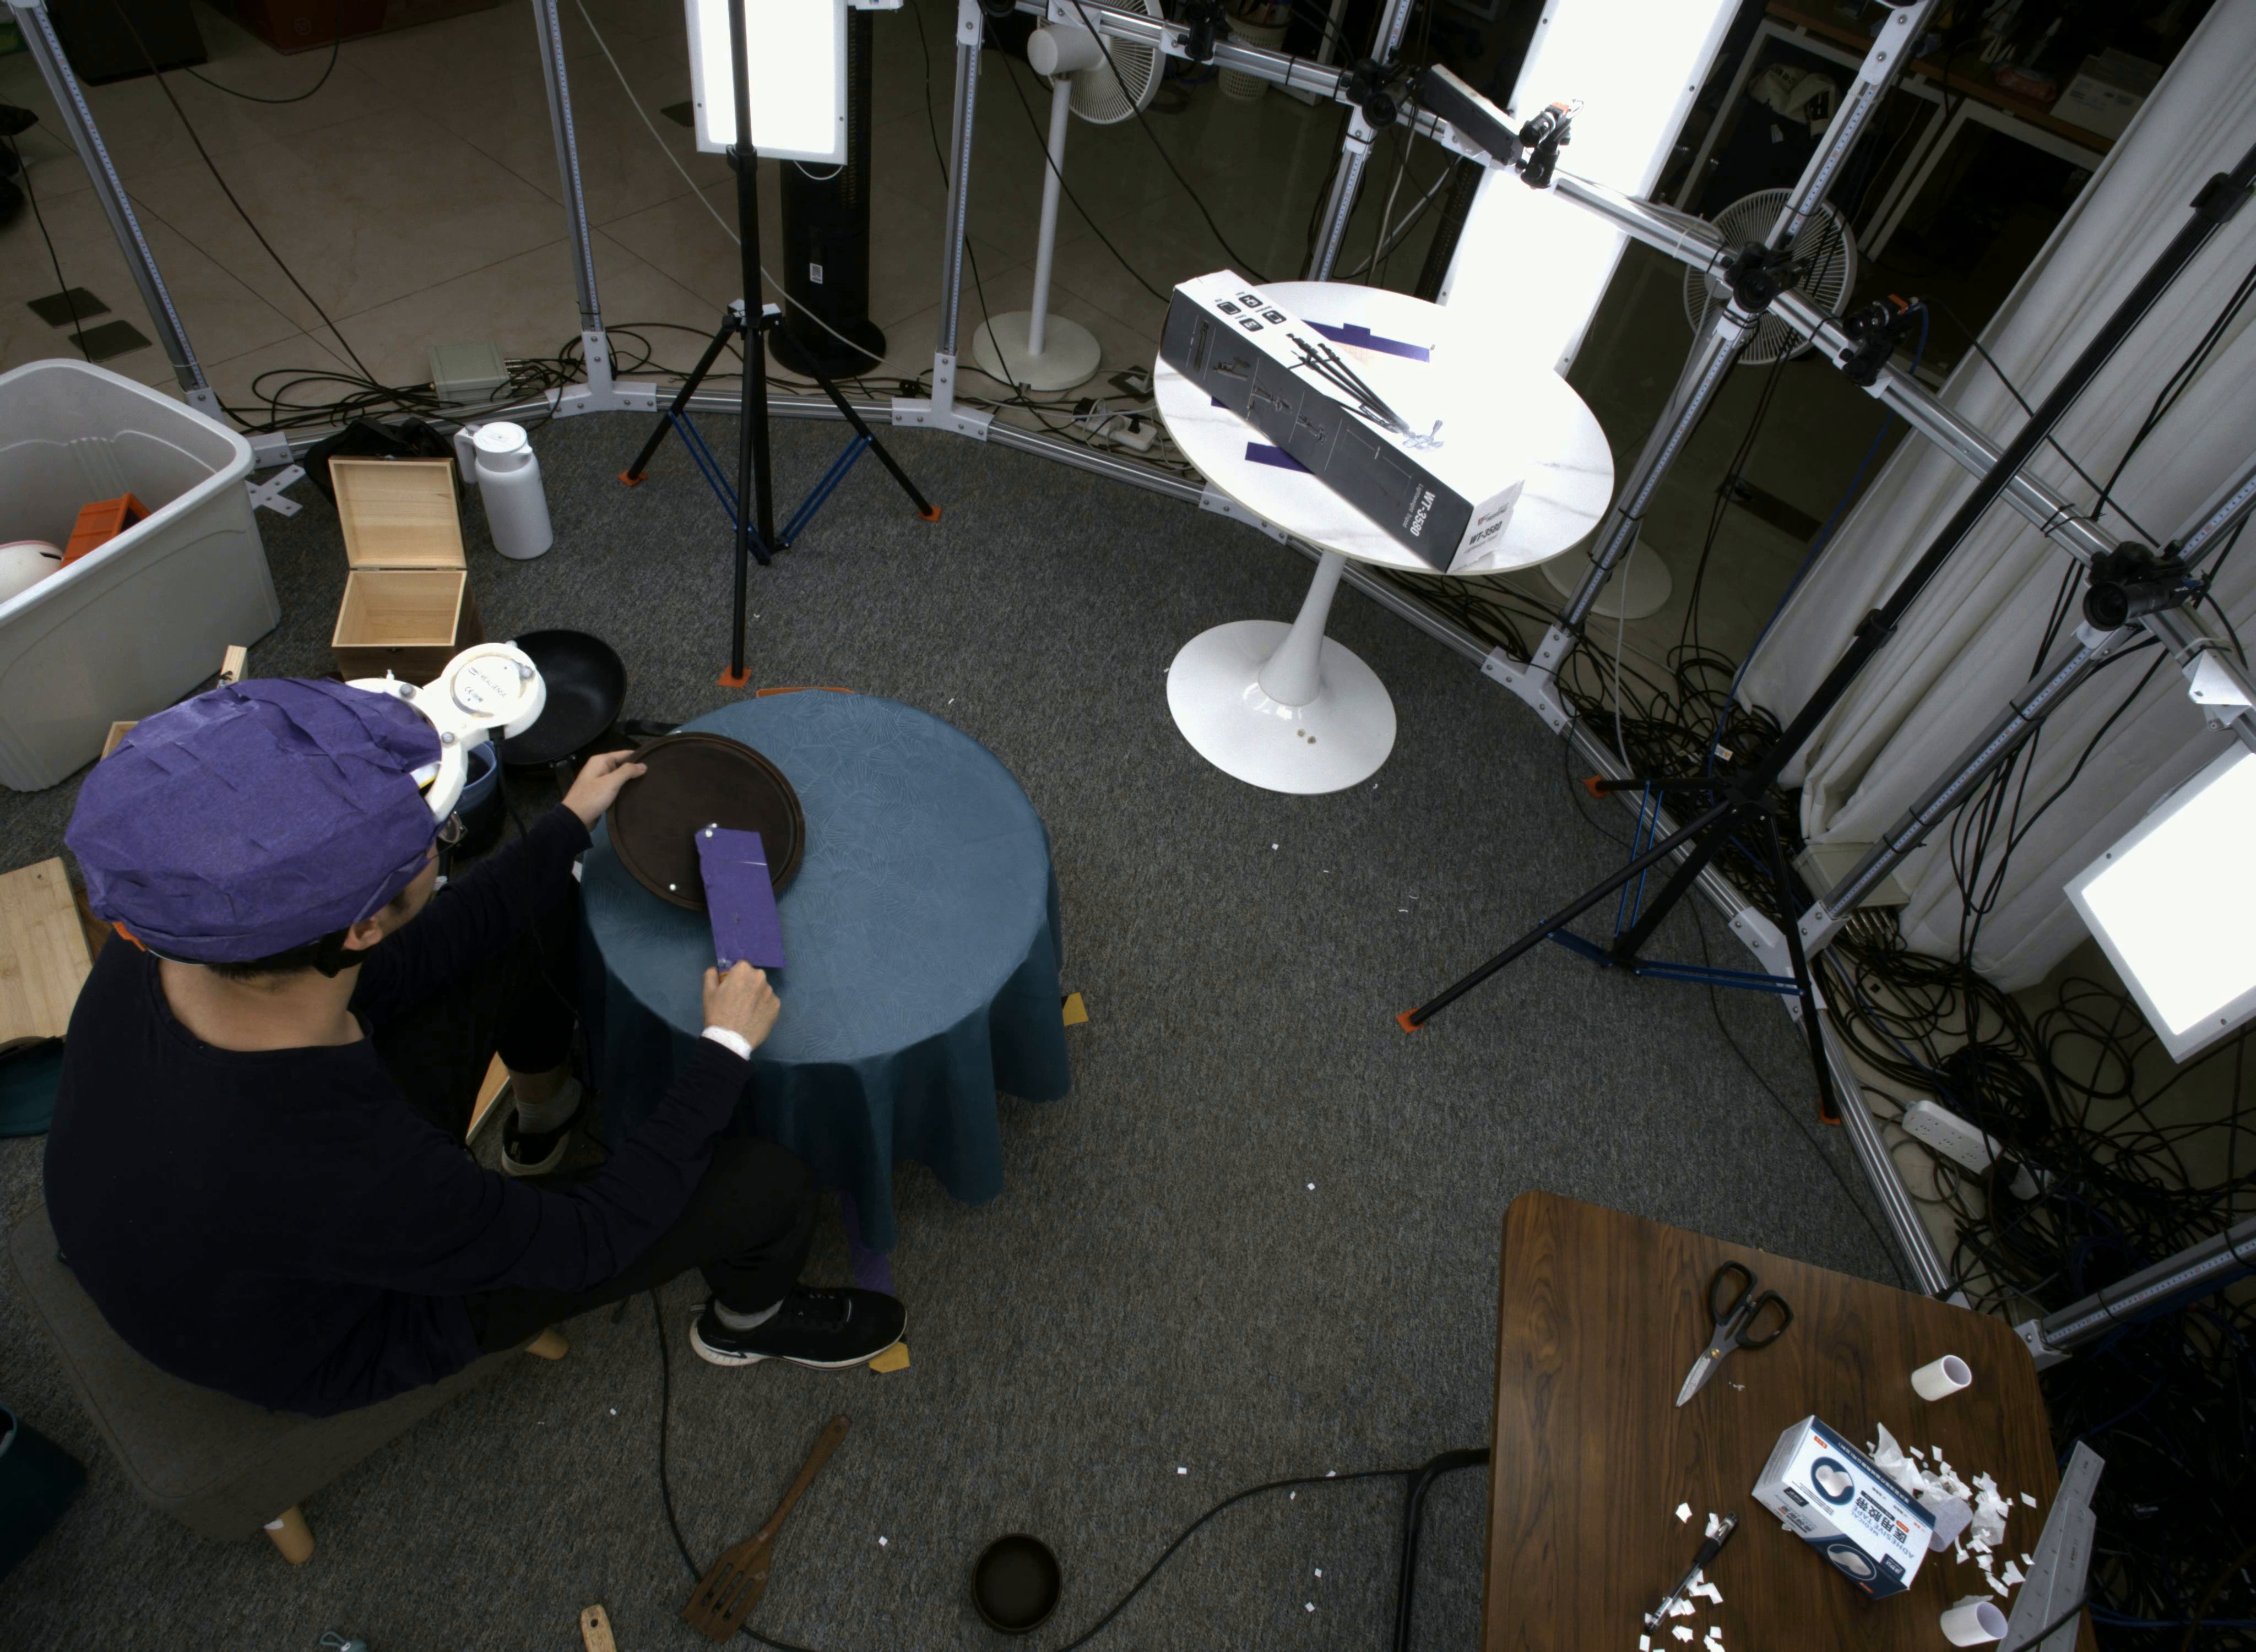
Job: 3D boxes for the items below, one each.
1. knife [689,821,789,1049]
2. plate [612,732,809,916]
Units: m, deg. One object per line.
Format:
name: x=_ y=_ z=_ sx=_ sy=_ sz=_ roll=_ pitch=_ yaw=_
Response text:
knife: x=-0.460 y=0.121 z=1.568 sx=0.106 sy=0.032 sz=0.308 roll=7 pitch=52 yaw=-40
plate: x=-0.532 y=-0.004 z=1.641 sx=0.260 sy=0.029 sz=0.251 roll=19 pitch=56 yaw=-28
